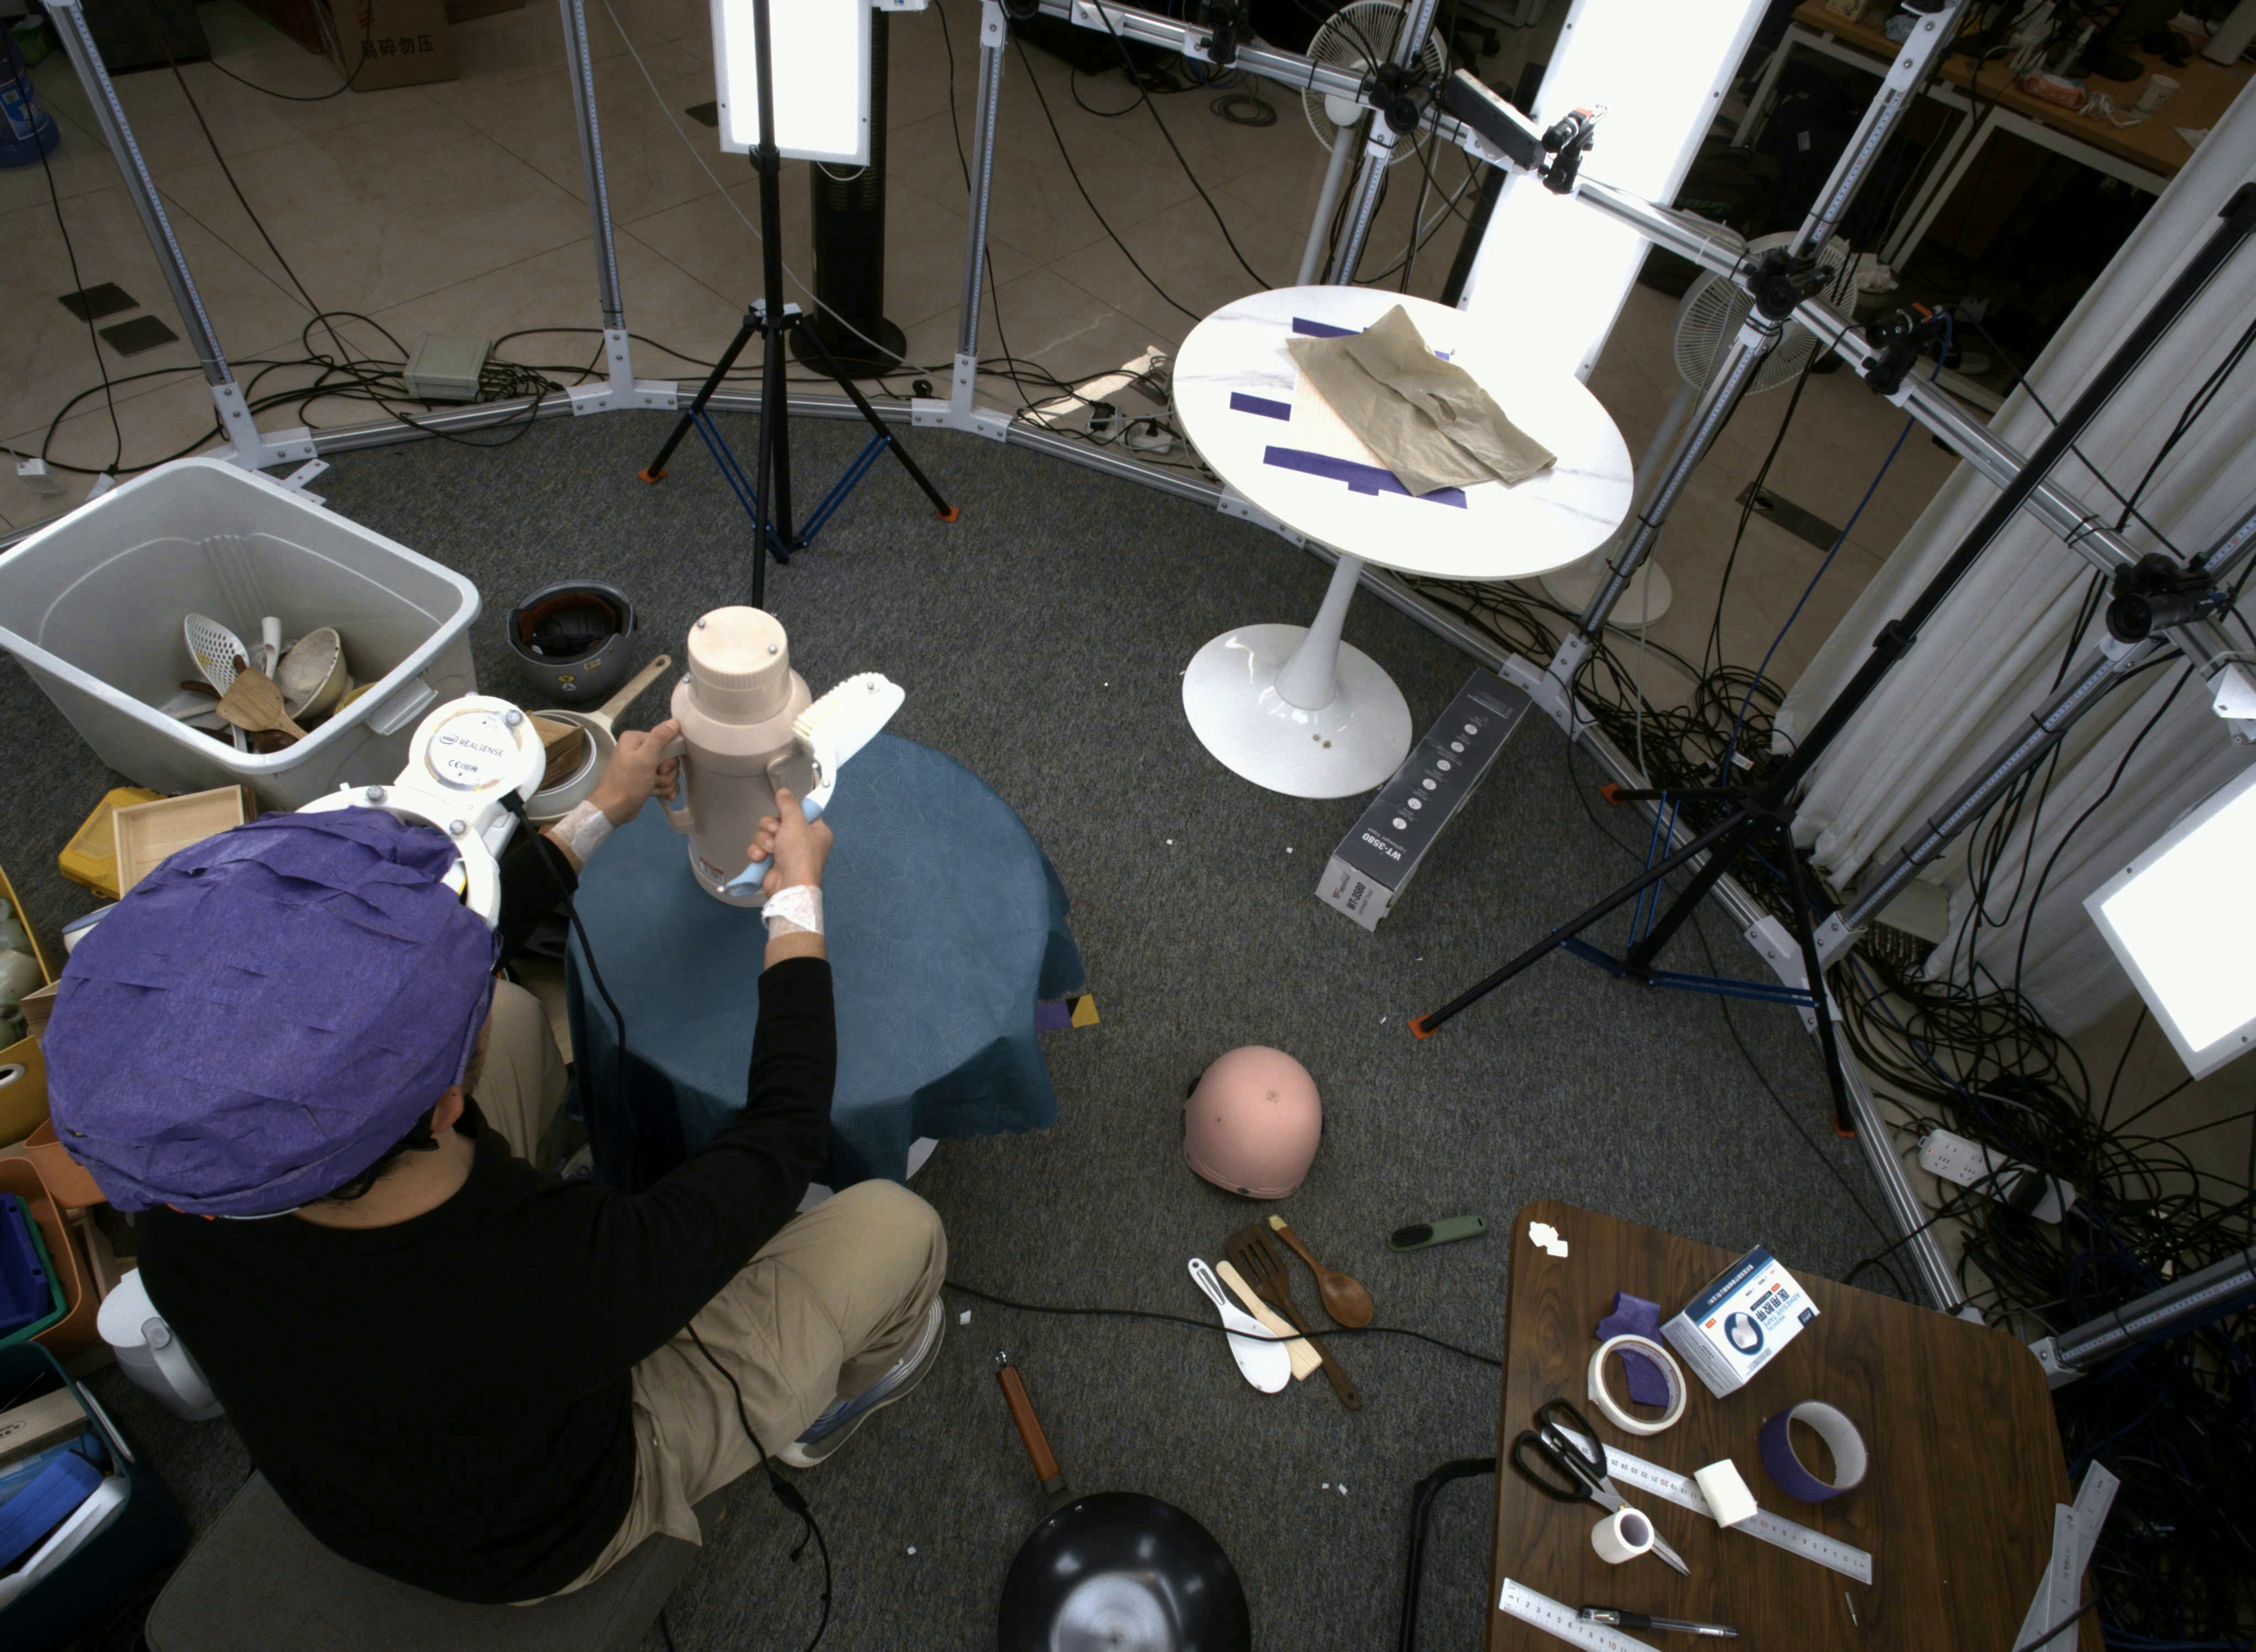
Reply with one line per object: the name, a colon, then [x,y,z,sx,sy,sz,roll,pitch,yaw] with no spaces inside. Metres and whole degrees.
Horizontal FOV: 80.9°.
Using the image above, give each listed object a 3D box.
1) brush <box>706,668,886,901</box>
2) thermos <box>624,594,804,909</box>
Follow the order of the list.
brush: [-0.379,-0.058,1.402,0.086,0.082,0.324,48,55,-25]
thermos: [-0.482,-0.078,1.505,0.208,0.414,0.171,-30,64,-31]
